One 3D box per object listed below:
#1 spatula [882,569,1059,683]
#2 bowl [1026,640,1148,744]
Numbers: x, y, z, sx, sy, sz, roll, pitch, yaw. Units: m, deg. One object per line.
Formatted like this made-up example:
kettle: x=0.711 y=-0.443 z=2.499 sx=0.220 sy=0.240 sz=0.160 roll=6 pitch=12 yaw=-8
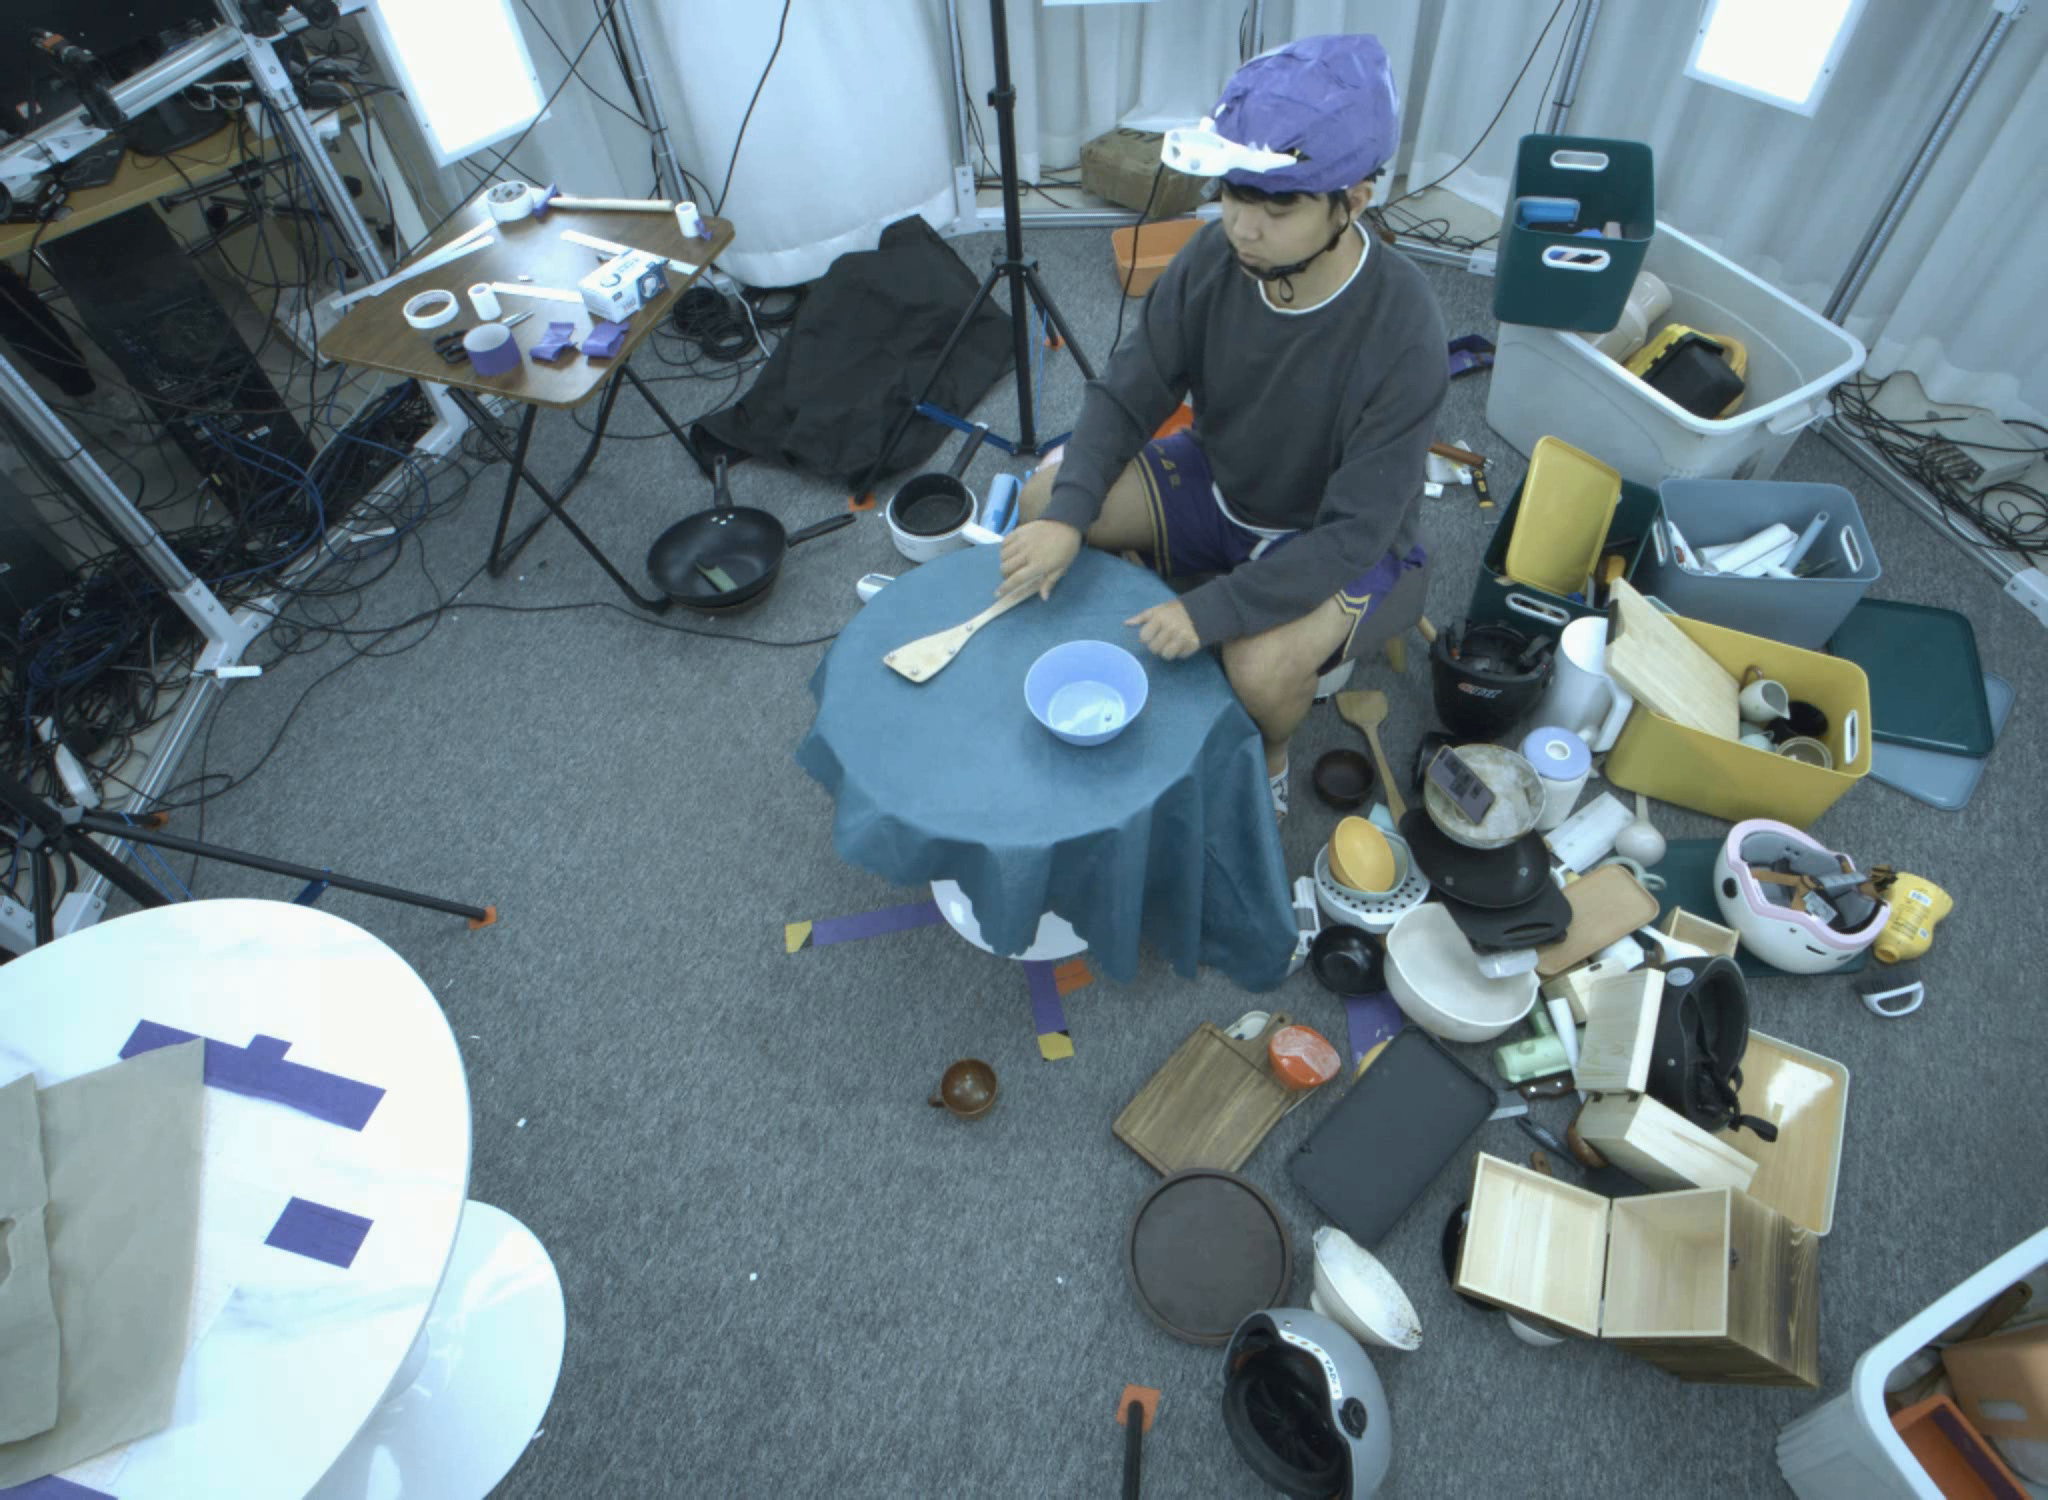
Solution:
spatula: x=-0.072 y=-0.203 z=1.927 sx=0.330 sy=0.017 sz=0.078 roll=-36 pitch=60 yaw=-22
bowl: x=0.092 y=-0.074 z=1.796 sx=0.176 sy=0.071 sz=0.174 roll=-1 pitch=55 yaw=2
